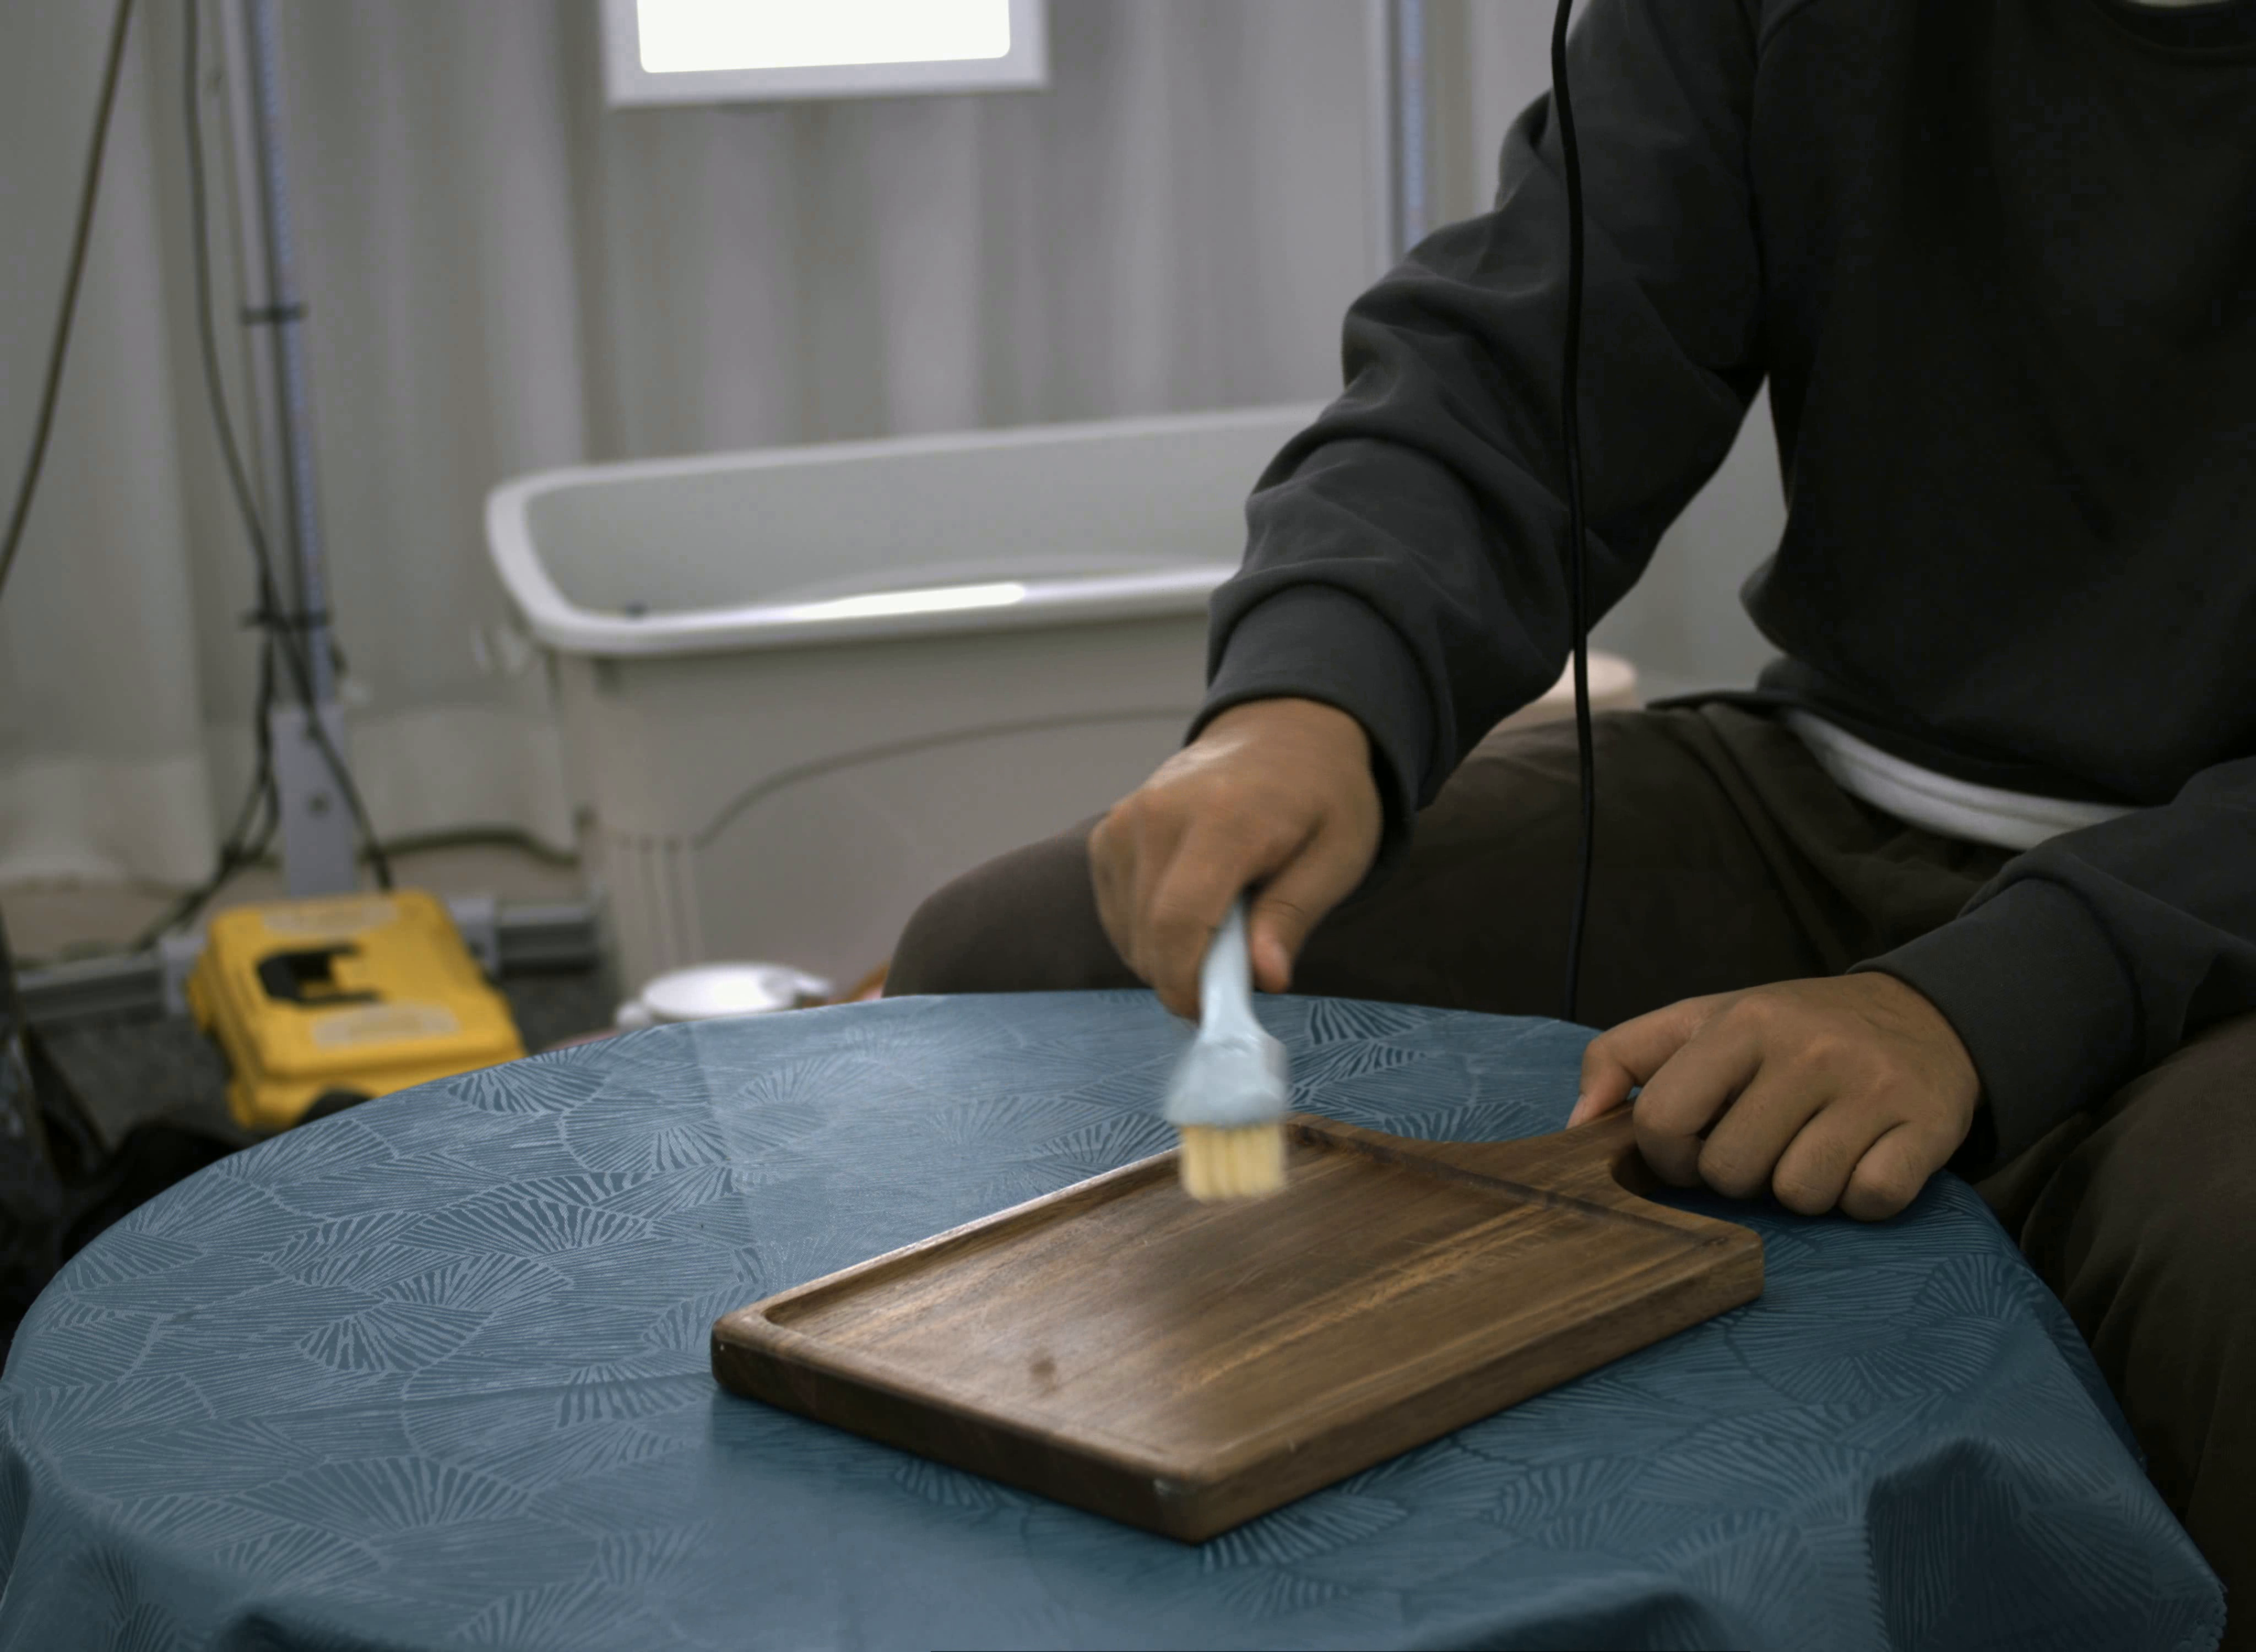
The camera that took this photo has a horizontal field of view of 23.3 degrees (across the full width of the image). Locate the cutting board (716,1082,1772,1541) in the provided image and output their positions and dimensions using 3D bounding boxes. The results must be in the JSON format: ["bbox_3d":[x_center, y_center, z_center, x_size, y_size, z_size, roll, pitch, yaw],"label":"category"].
[{"bbox_3d":[0.070,0.129,1.613,0.202,0.023,0.351,12,21,43],"label":"cutting board"}]

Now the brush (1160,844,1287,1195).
[{"bbox_3d":[0.027,0.057,1.656,0.037,0.049,0.231,-5,20,0],"label":"brush"}]
